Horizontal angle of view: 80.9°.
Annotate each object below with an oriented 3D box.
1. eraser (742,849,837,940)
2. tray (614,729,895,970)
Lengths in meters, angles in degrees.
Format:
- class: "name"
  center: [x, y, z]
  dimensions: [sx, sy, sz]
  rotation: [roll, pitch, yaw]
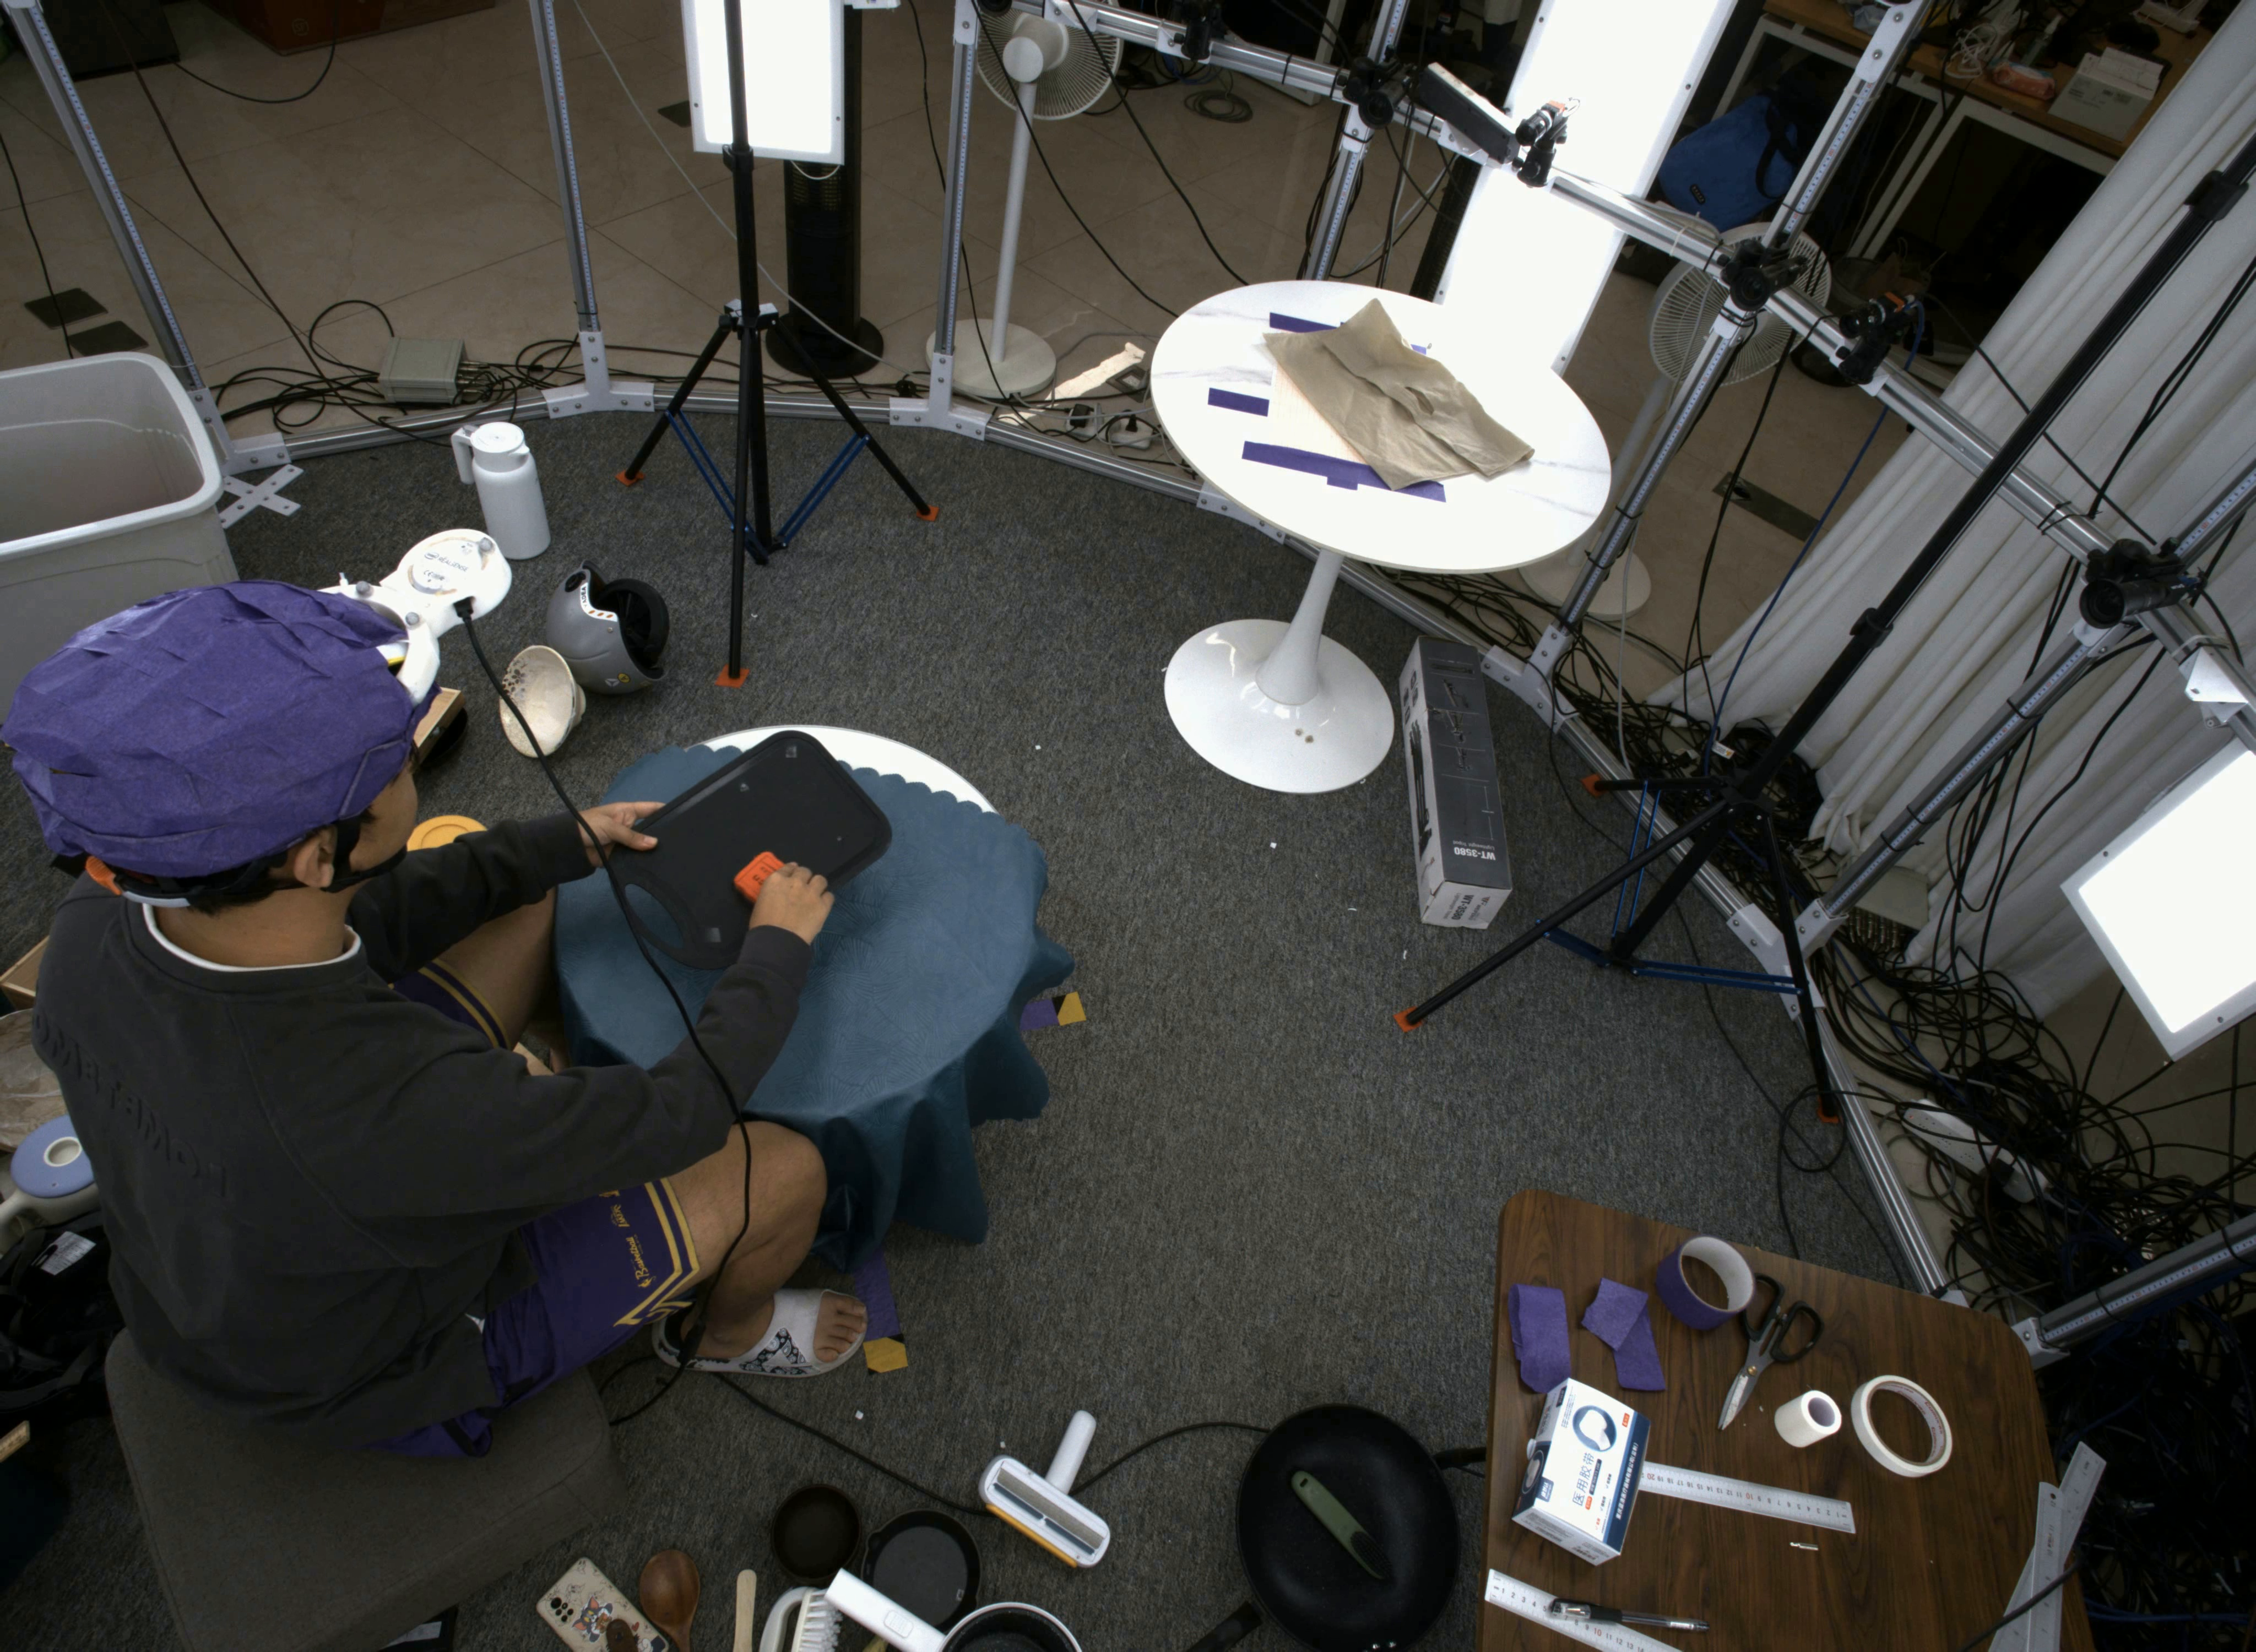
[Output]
- class: "eraser"
  center: [-0.401, 0.079, 1.533]
  dimensions: [0.107, 0.023, 0.059]
  rotation: [41, 59, 2]
- class: "tray"
  center: [-0.451, 0.025, 1.555]
  dimensions: [0.326, 0.010, 0.210]
  rotation: [-39, 85, -30]
